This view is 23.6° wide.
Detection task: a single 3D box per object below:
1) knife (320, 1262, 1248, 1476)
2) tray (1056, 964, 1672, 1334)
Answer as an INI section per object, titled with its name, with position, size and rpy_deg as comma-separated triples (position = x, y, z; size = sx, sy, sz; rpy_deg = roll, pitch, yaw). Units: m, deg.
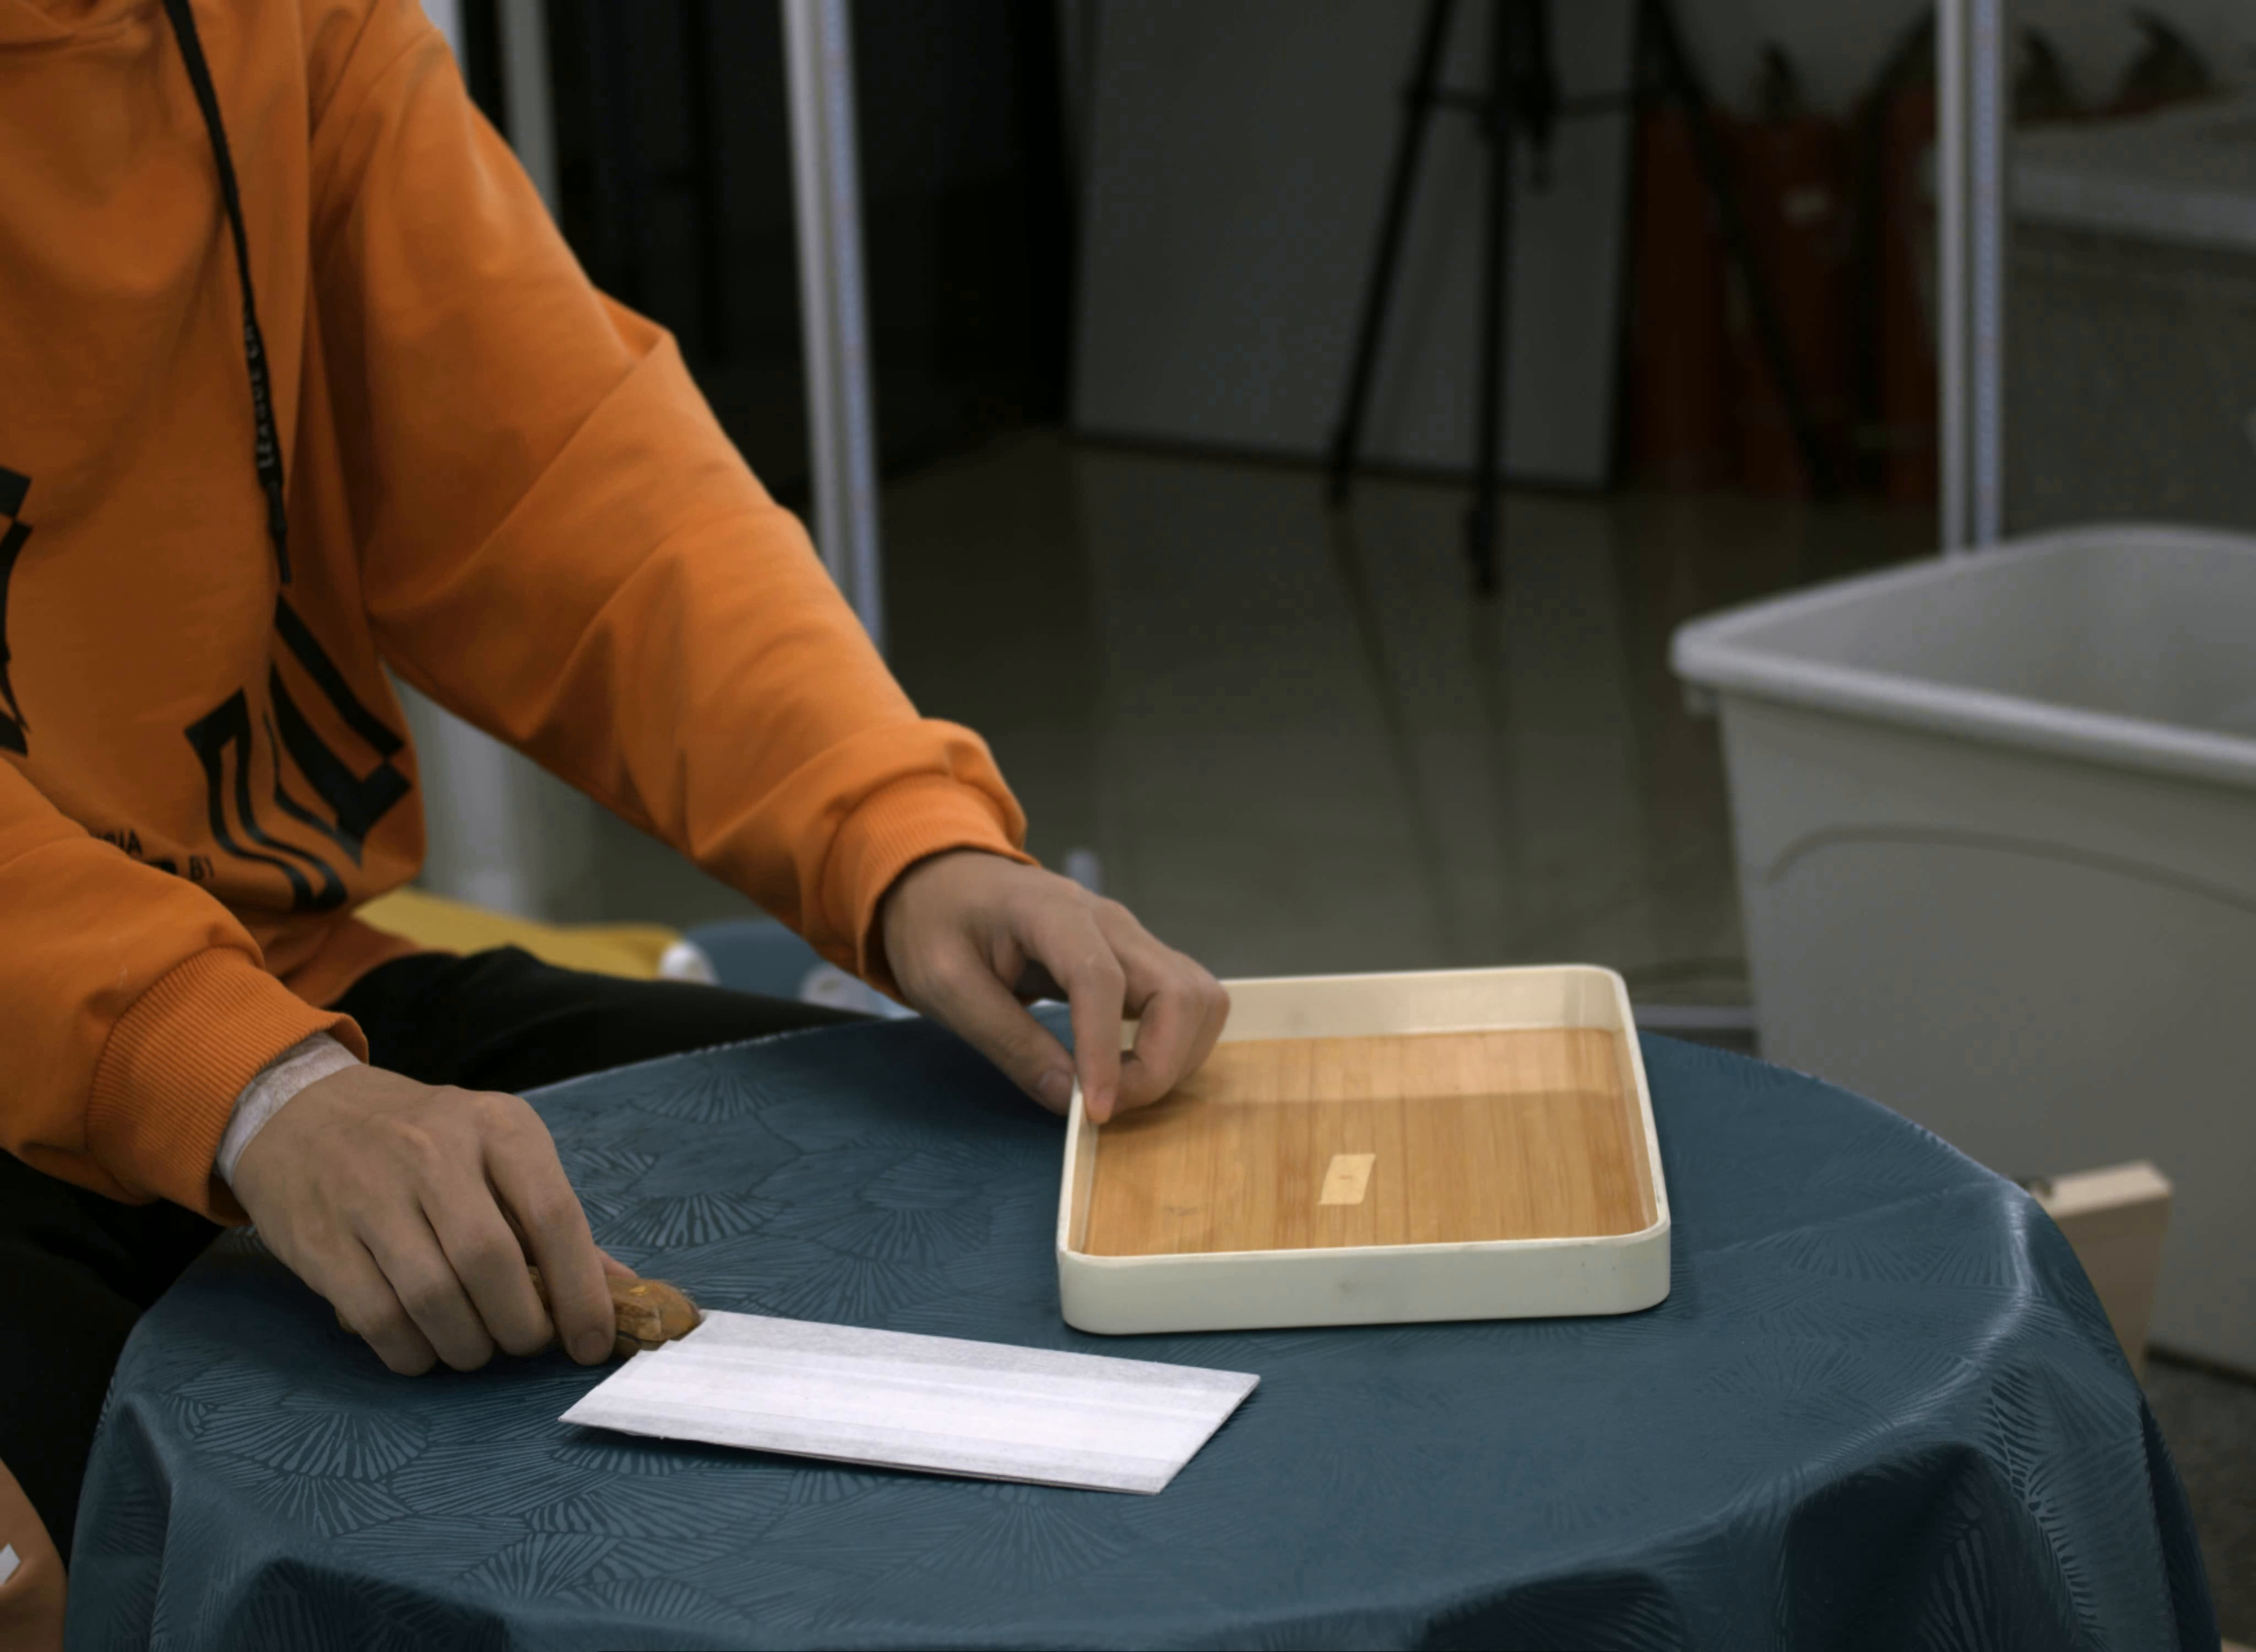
[knife]
position = -0.115, 0.164, 1.601
size = 0.306, 0.021, 0.092
rpy_deg = 4, 18, 23
[tray]
position = 0.077, 0.102, 1.765
size = 0.189, 0.028, 0.300
rpy_deg = -3, 14, 4
